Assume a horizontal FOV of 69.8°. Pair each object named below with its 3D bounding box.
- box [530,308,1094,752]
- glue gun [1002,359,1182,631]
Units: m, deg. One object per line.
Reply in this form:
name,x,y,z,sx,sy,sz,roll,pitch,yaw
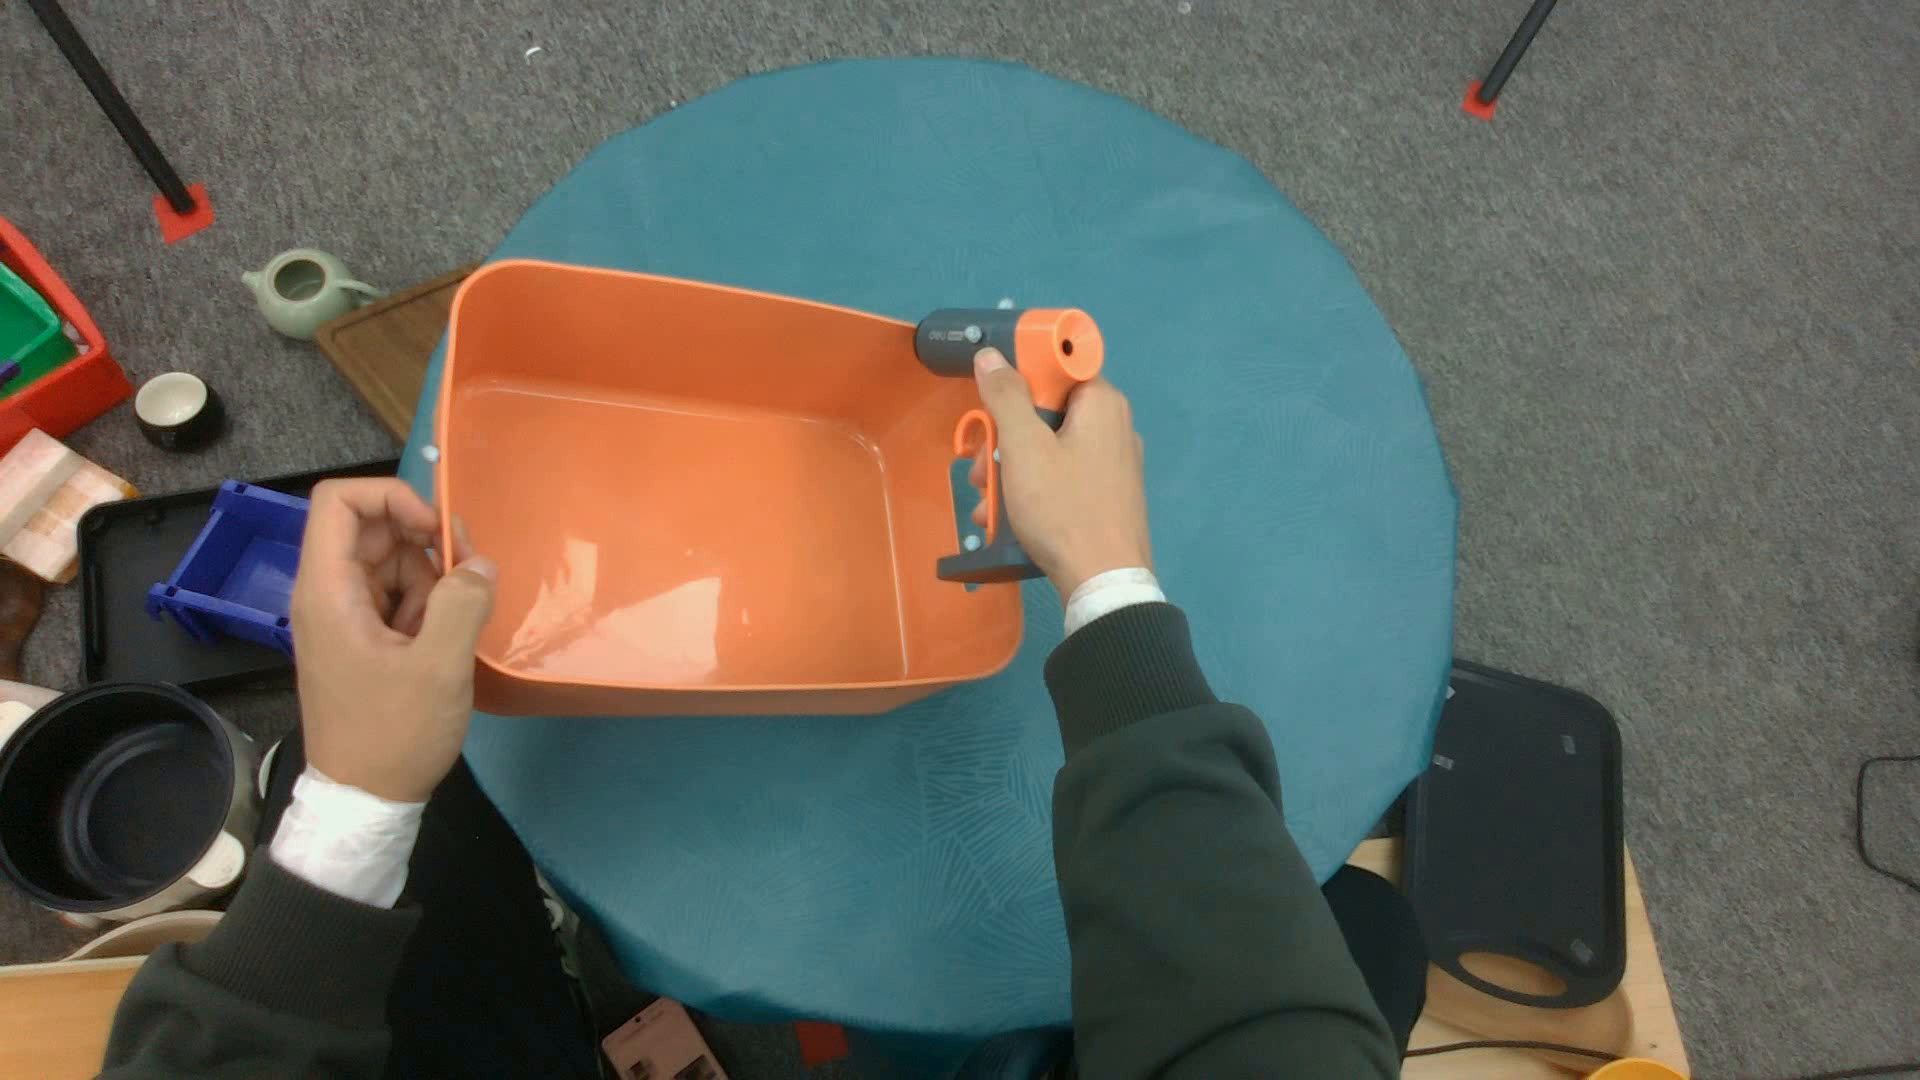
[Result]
box,-0.076,0.009,0.686,0.274,0.102,0.200,6,66,-28
glue gun,0.058,-0.029,0.672,0.041,0.117,0.140,9,75,-33
